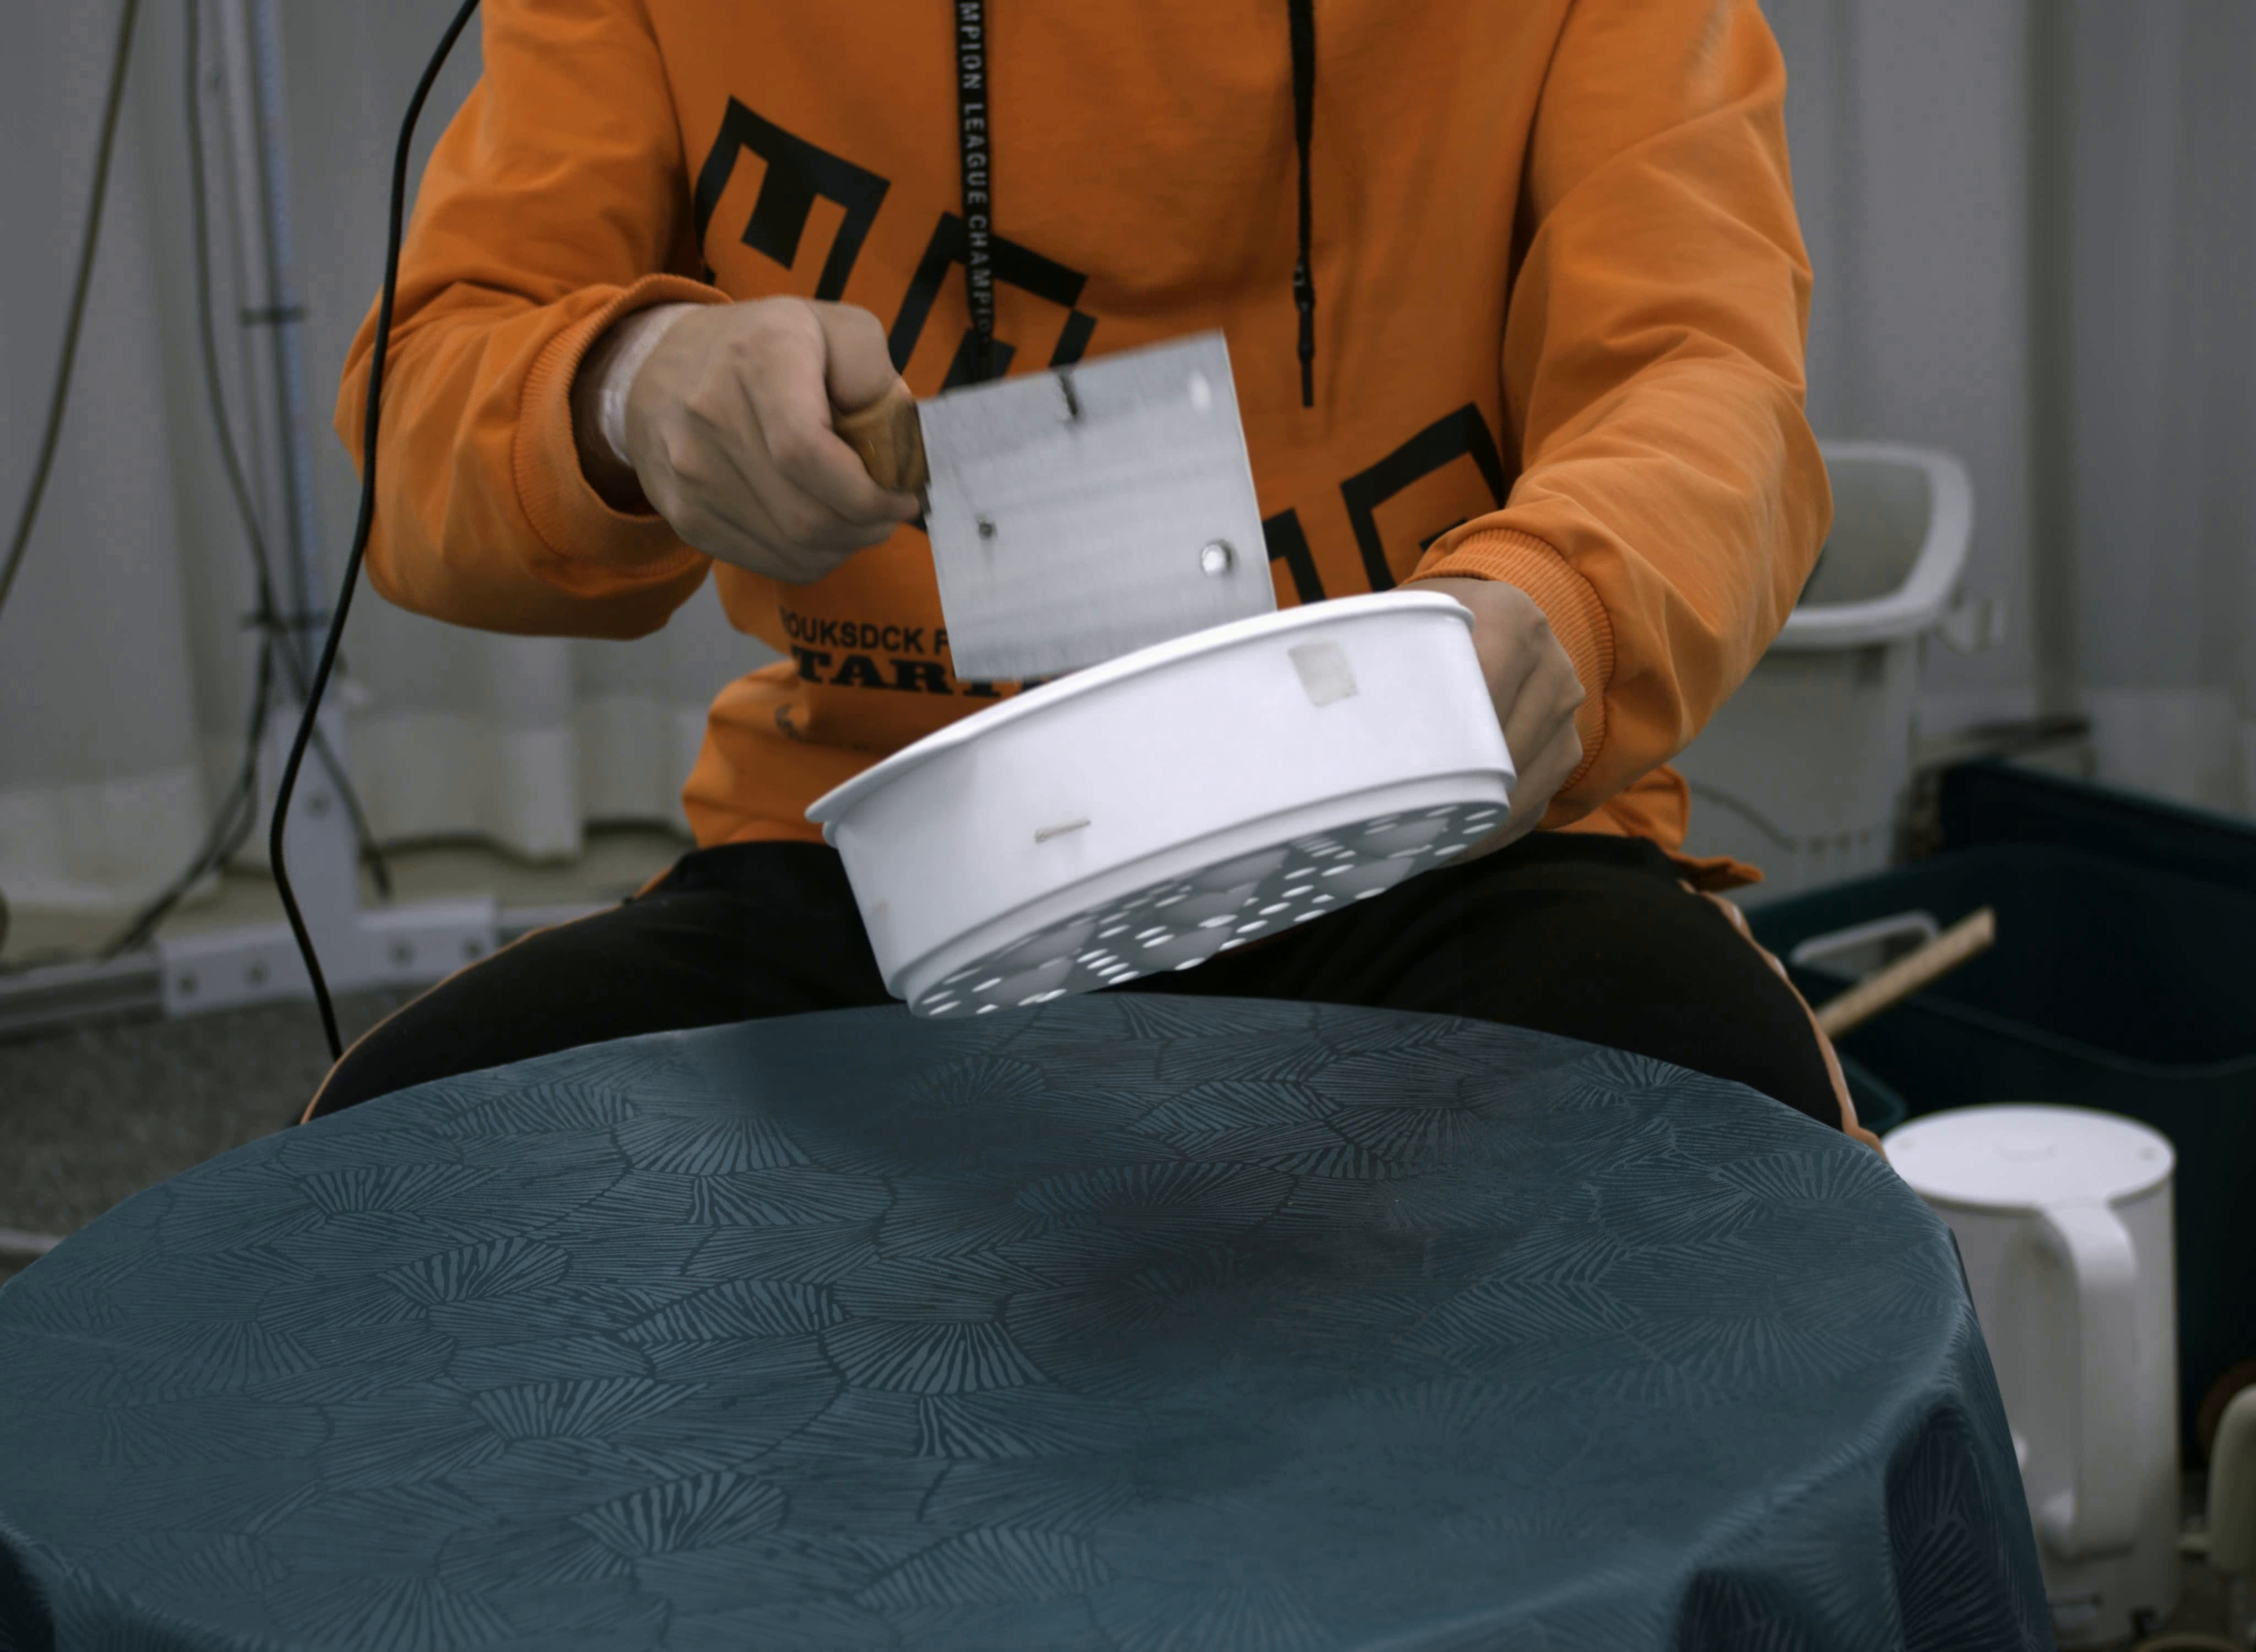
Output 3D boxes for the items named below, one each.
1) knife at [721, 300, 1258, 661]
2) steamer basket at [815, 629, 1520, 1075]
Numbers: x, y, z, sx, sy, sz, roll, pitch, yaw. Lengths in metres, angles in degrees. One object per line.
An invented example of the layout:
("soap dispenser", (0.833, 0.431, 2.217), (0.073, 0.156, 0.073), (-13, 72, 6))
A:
("knife", (-0.045, -0.098, 1.695), (0.021, 0.093, 0.306), (-14, 3, -31))
("steamer basket", (0.016, 0.011, 1.588), (0.230, 0.069, 0.201), (-17, -8, -41))
